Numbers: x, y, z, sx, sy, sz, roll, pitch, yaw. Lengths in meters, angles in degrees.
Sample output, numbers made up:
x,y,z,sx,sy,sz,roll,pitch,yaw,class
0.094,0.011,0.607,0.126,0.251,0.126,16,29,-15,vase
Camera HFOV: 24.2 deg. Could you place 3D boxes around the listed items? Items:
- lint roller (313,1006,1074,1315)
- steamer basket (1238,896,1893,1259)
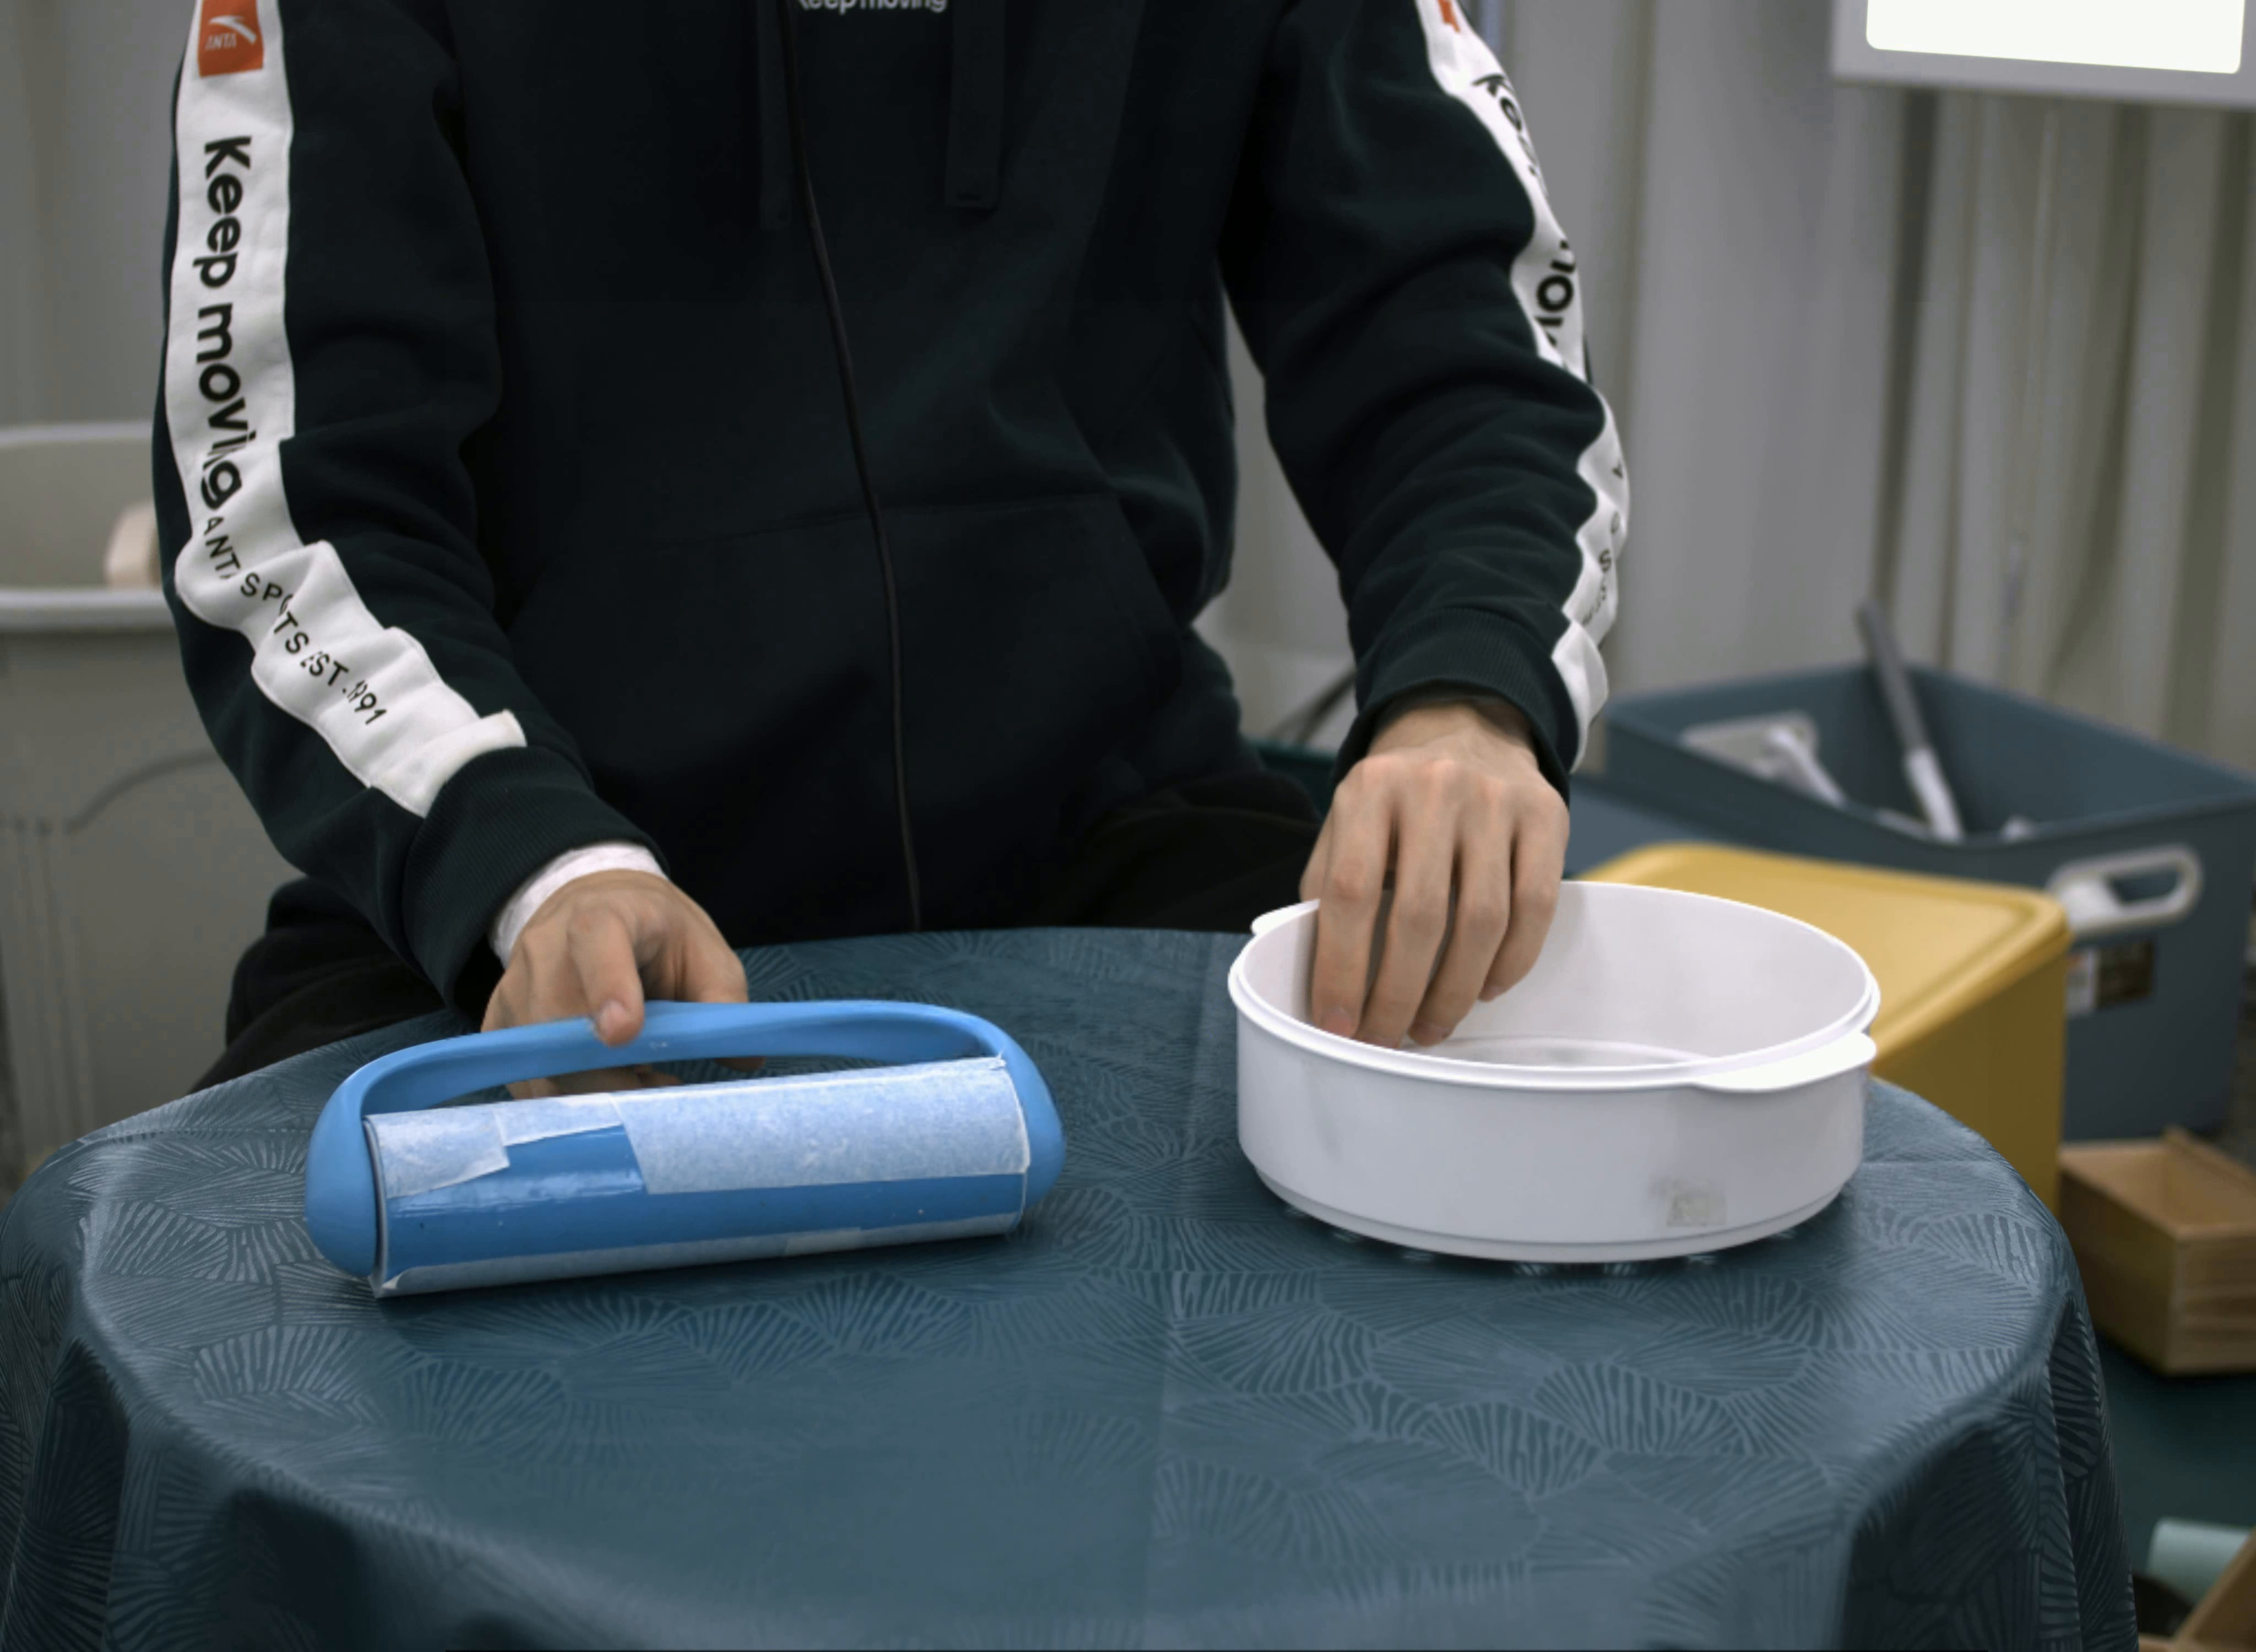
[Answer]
x,y,z,sx,sy,sz,roll,pitch,yaw,class
-0.147,0.088,1.598,0.229,0.068,0.178,-8,18,-21,lint roller
0.134,0.077,1.623,0.203,0.070,0.227,-11,18,-40,steamer basket
